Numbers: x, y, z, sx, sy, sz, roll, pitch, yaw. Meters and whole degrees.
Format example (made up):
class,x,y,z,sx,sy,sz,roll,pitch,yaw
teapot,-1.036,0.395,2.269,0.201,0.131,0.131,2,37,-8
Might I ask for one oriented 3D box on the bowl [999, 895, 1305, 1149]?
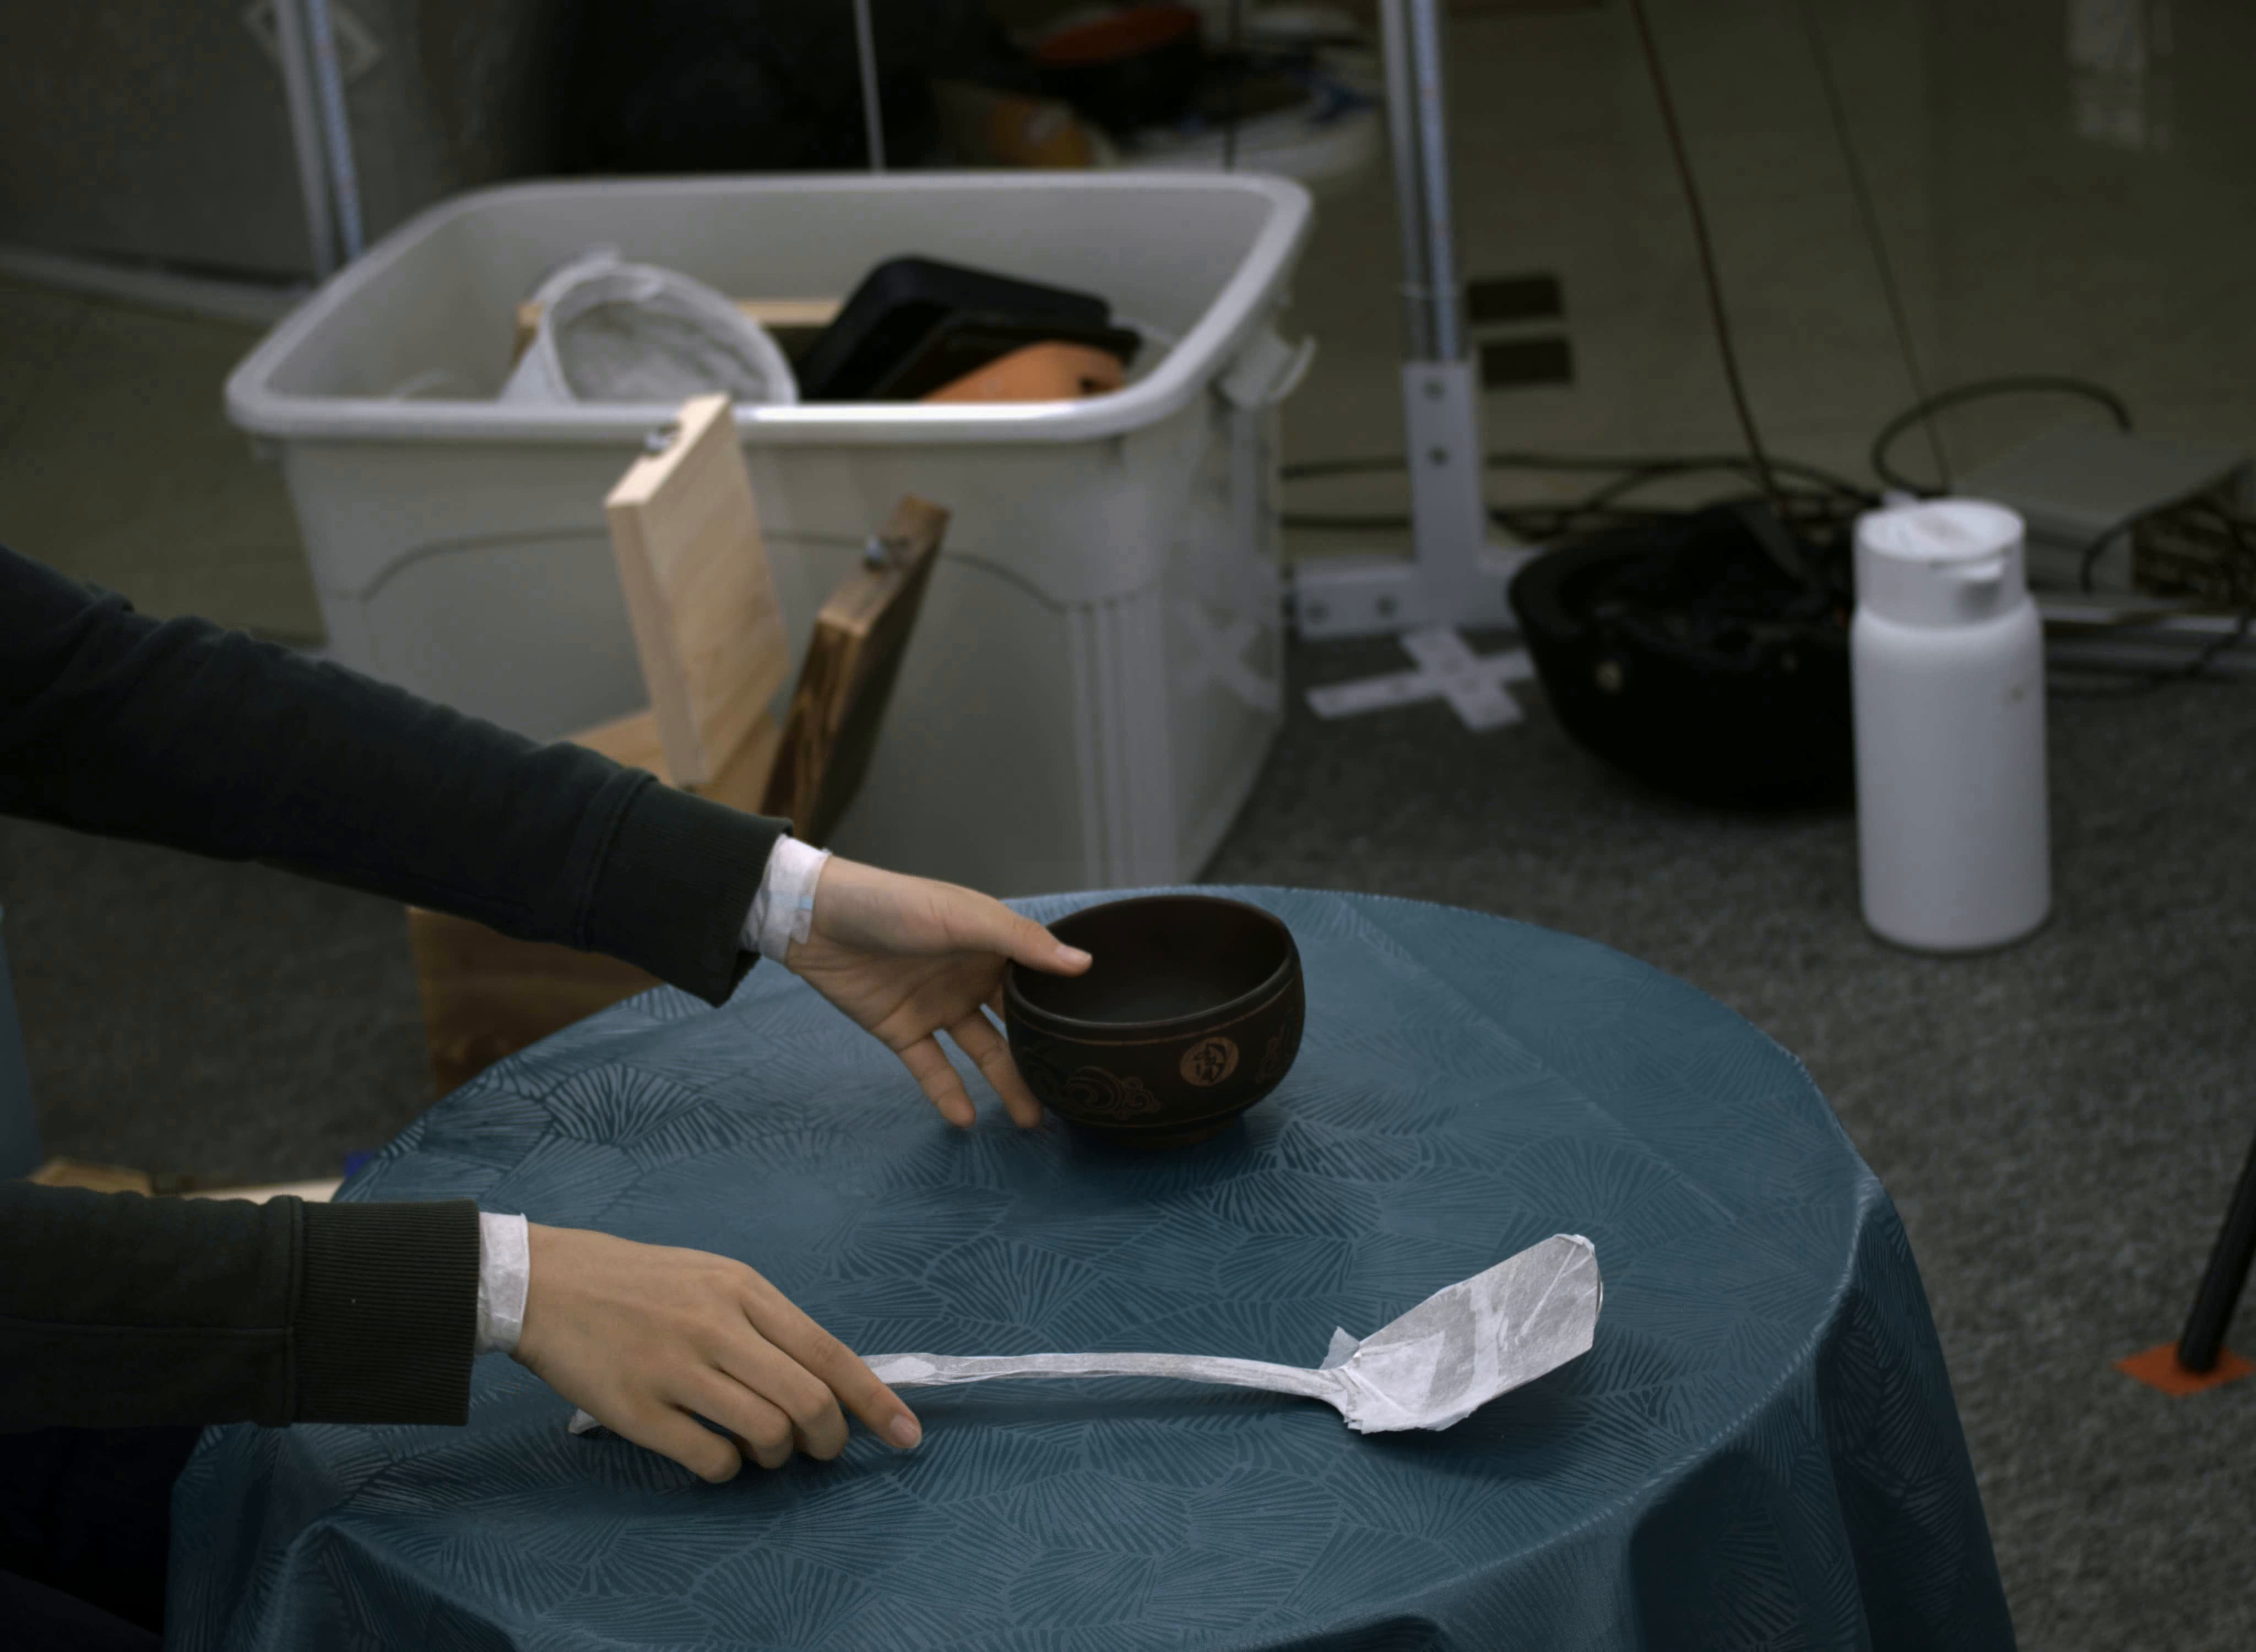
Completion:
class,x,y,z,sx,sy,sz,roll,pitch,yaw
bowl,0.011,0.081,2.188,0.118,0.071,0.116,-6,24,3

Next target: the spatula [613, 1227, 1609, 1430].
class,x,y,z,sx,sy,sz,roll,pitch,yaw
spatula,-0.011,0.186,2.008,0.364,0.045,0.097,-2,27,9
